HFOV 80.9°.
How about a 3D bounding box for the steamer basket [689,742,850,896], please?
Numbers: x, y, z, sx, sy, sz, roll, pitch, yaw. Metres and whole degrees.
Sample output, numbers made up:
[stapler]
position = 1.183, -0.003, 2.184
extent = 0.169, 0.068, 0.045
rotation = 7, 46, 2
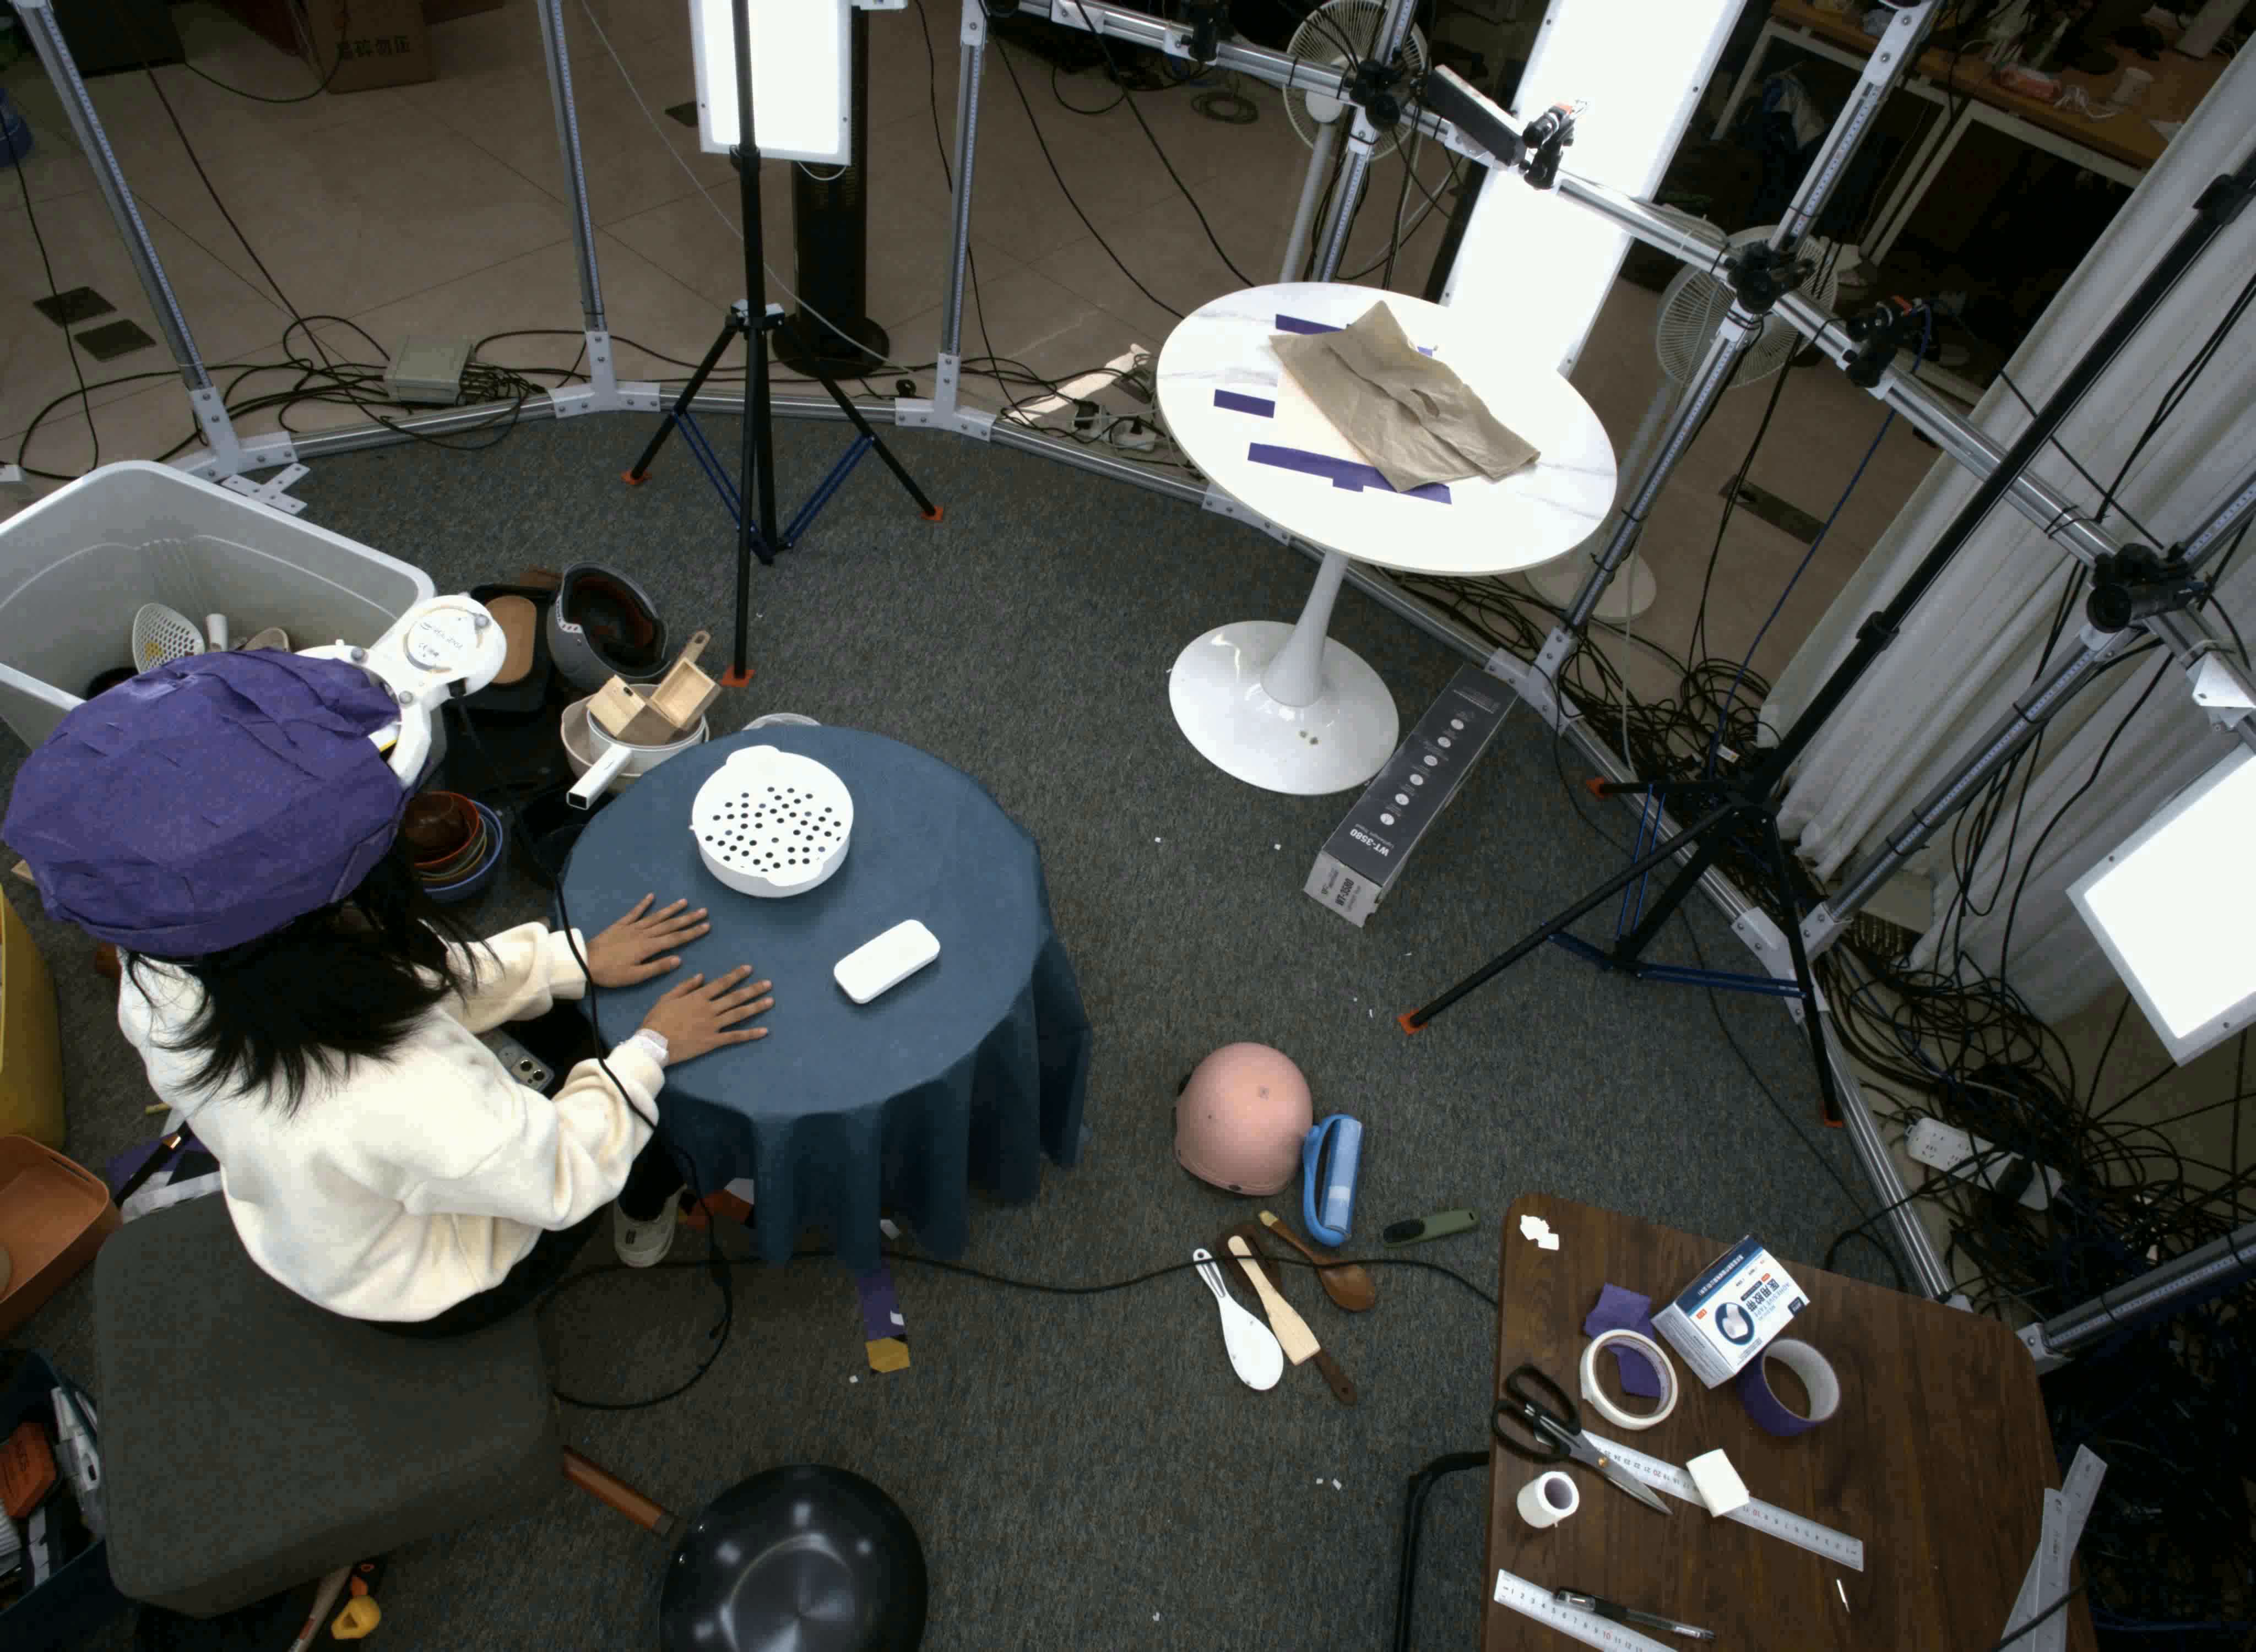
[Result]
[steamer basket]
position = -0.460, -0.005, 1.670
extent = 0.203, 0.071, 0.224
rotation = -16, 58, -24

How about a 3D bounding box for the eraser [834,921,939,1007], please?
[eraser]
position = -0.299, 0.166, 1.608
extent = 0.132, 0.035, 0.062
rotation = -31, 67, -32
